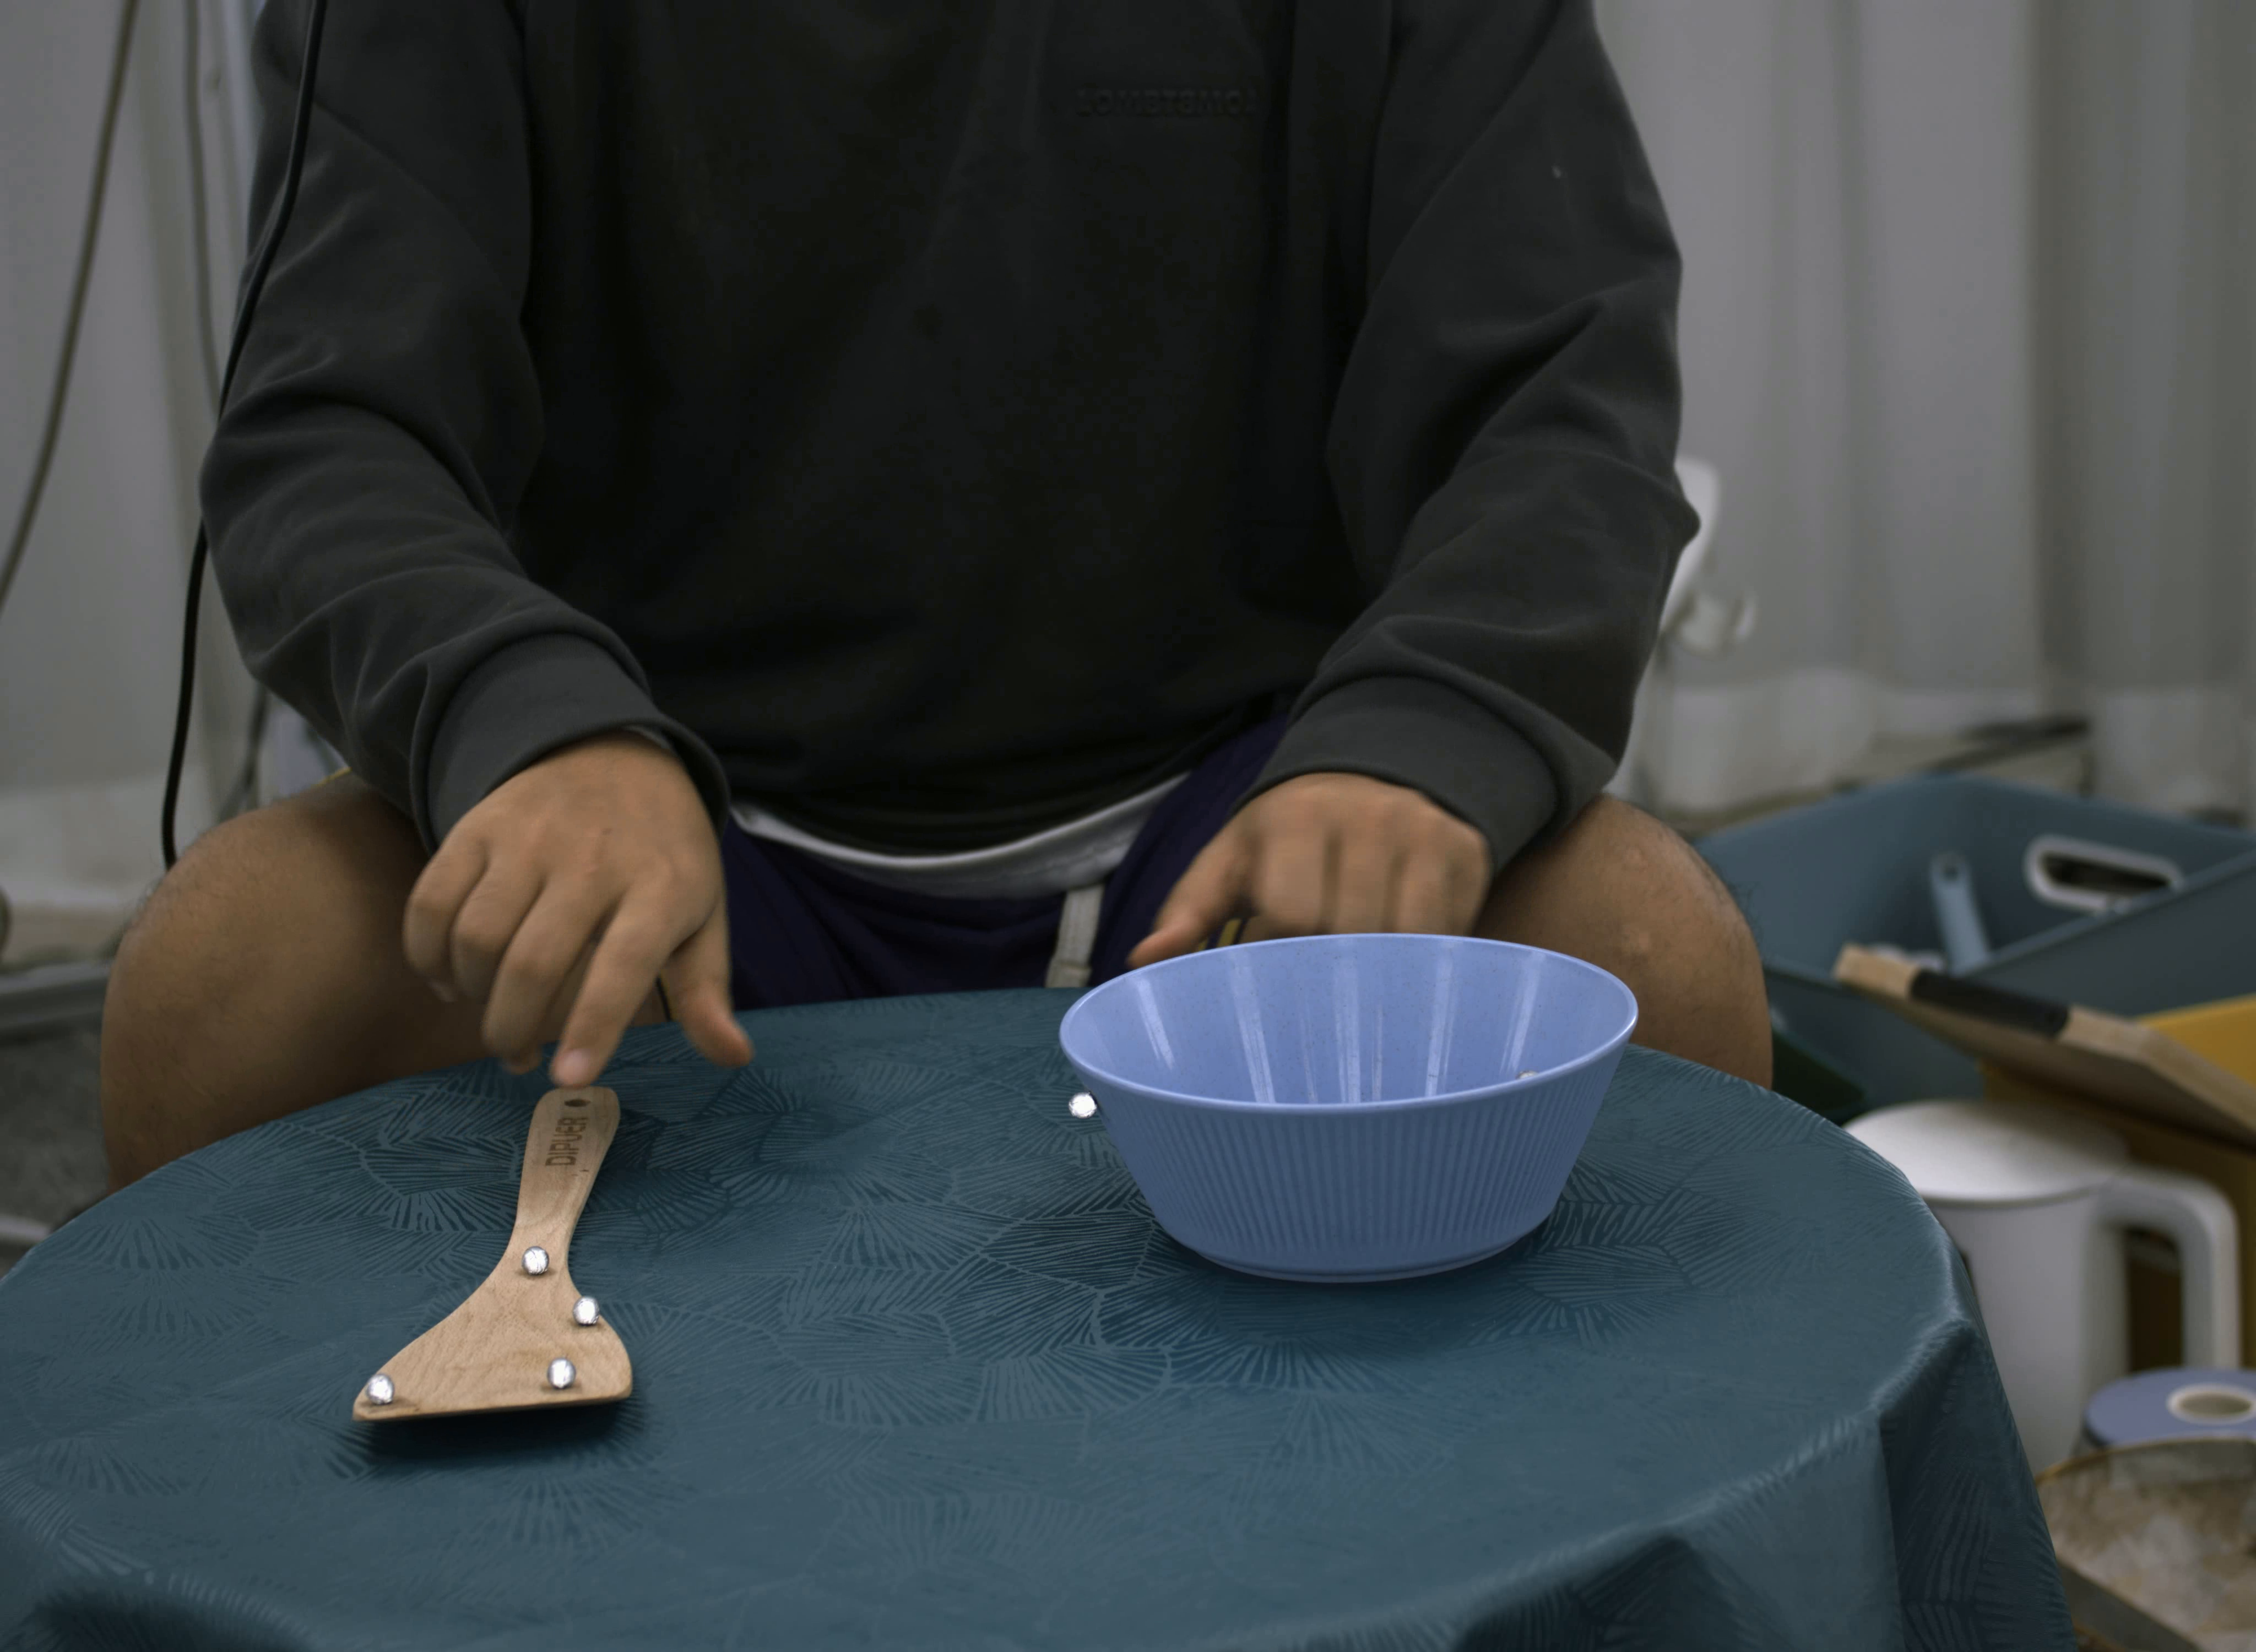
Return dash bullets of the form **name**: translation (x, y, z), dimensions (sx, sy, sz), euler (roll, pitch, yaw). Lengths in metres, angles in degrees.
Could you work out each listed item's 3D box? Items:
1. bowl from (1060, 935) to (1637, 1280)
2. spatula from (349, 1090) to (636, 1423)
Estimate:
- **bowl**: translation (0.068, 0.088, 1.667), dimensions (0.175, 0.070, 0.177), euler (-3, 15, 0)
- **spatula**: translation (-0.179, 0.128, 1.671), dimensions (0.079, 0.016, 0.330), euler (-4, 15, 0)
